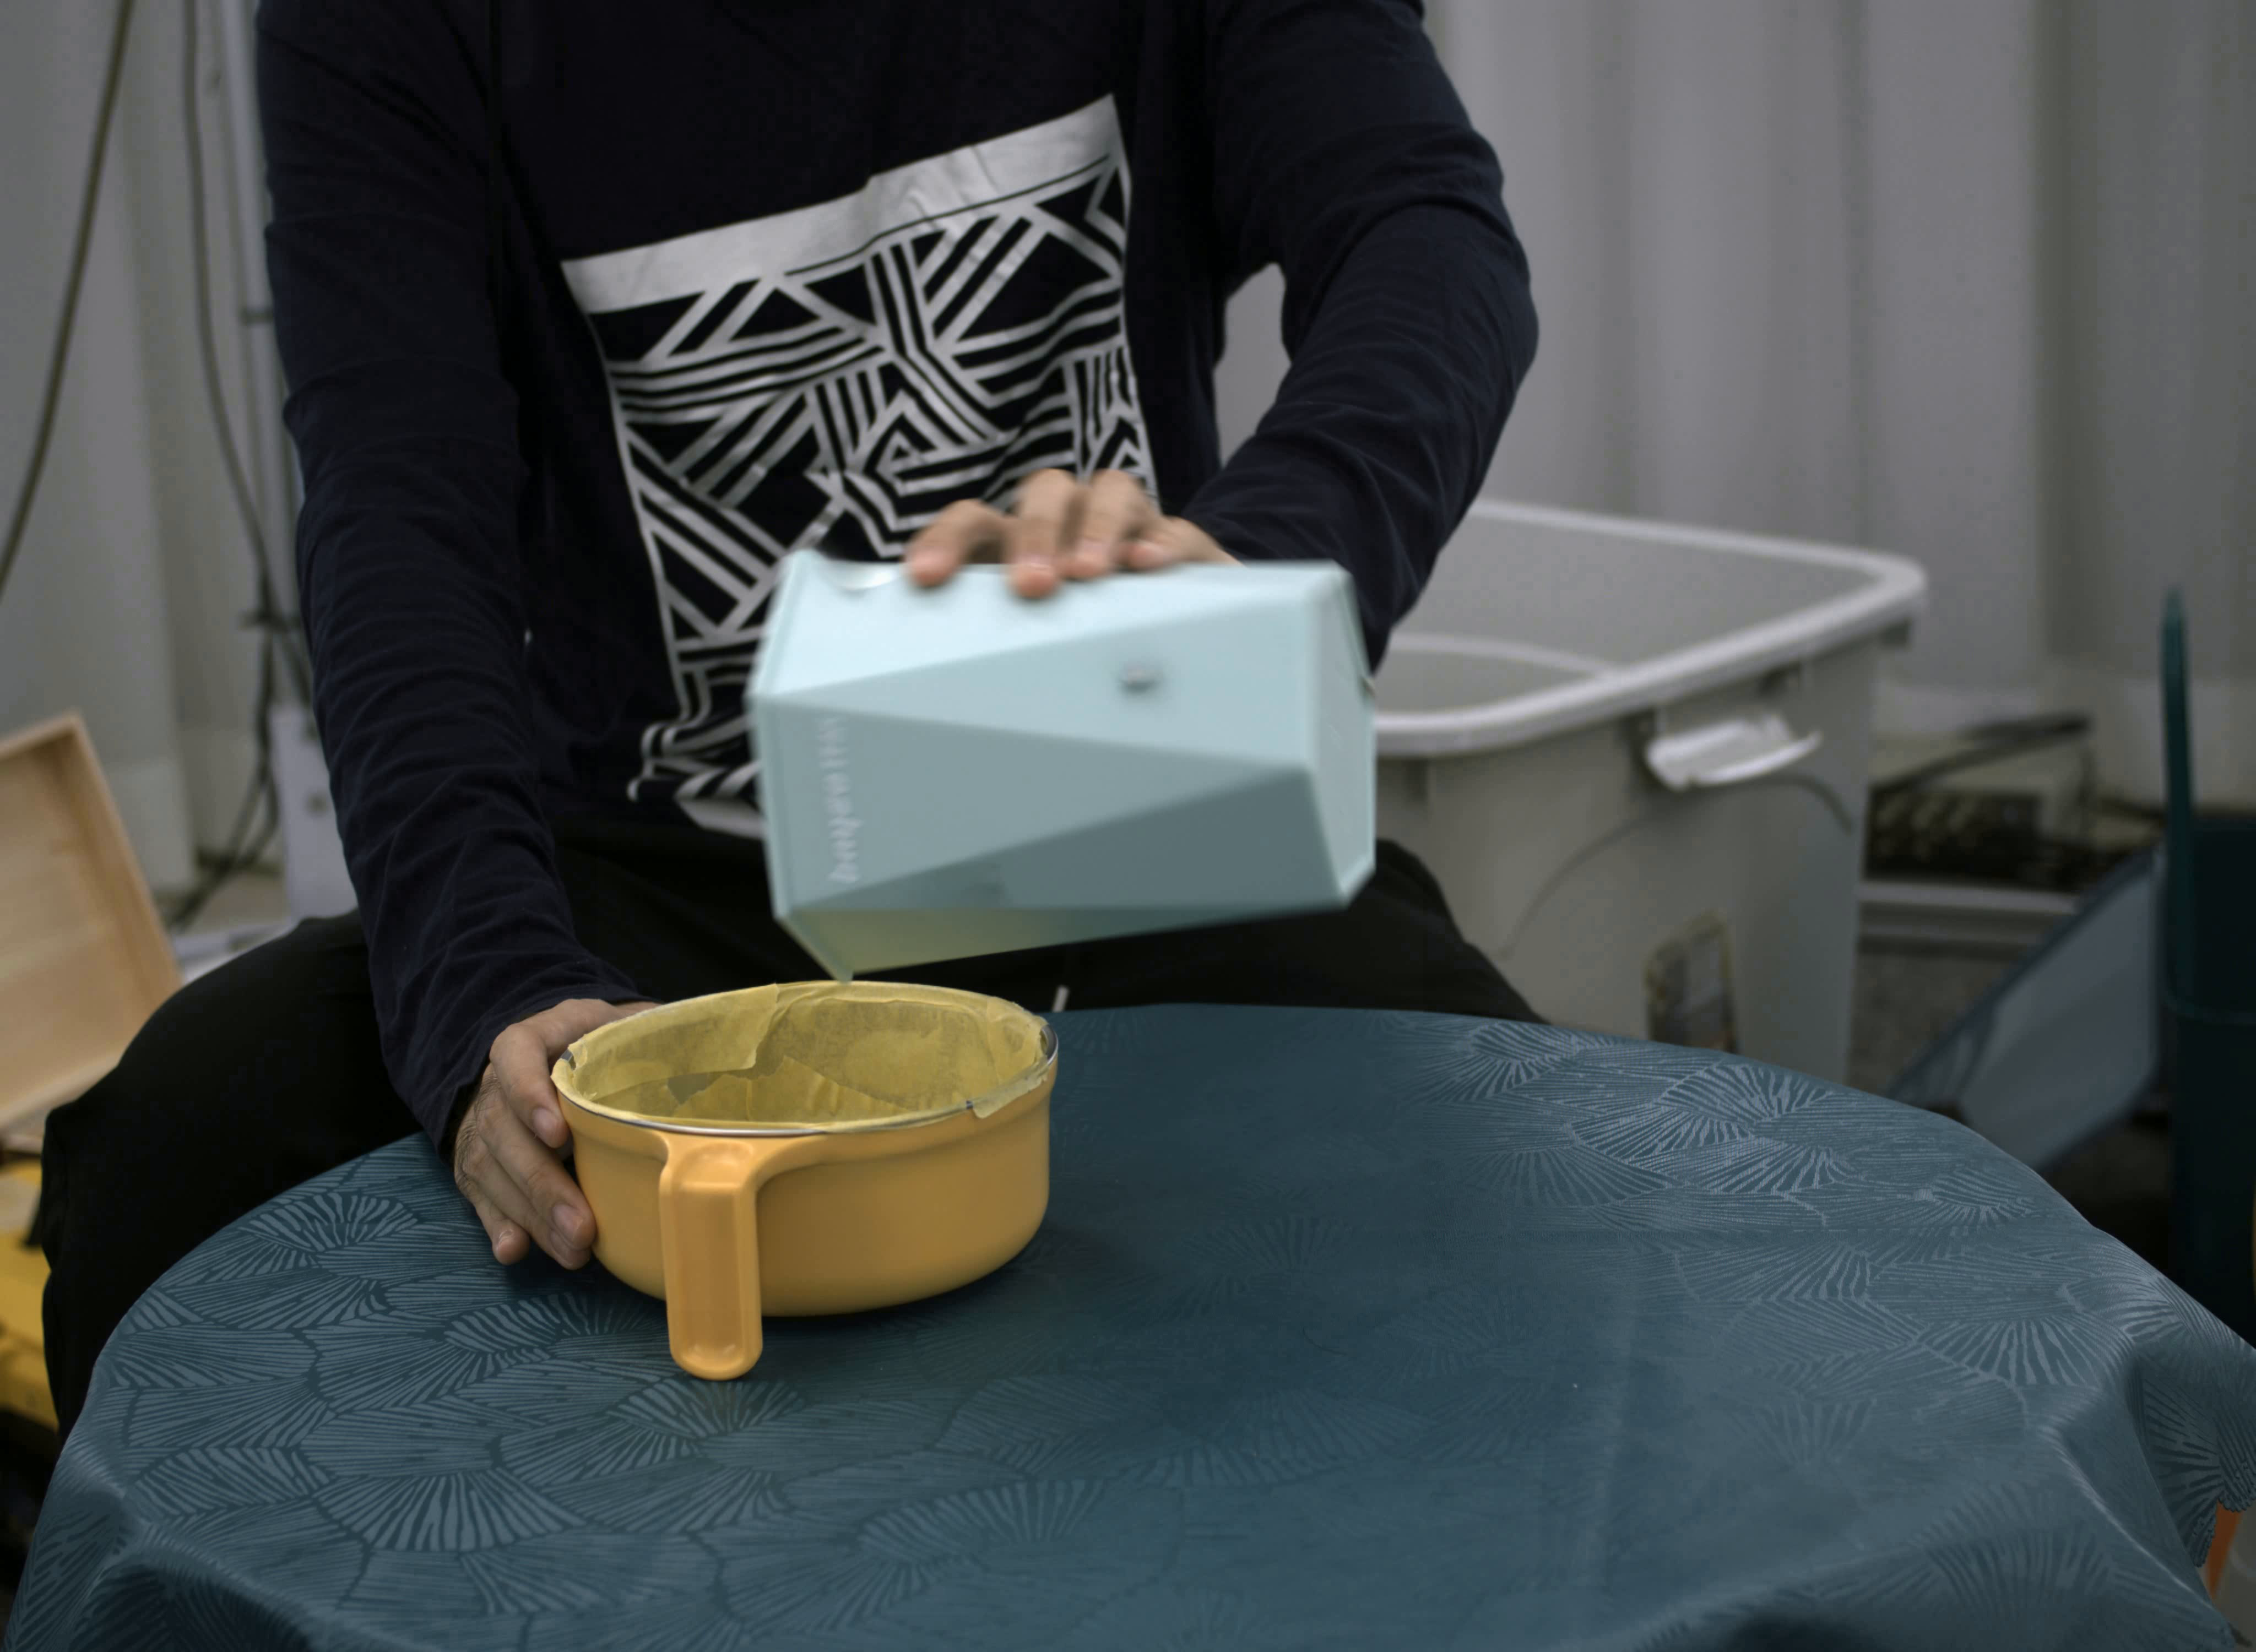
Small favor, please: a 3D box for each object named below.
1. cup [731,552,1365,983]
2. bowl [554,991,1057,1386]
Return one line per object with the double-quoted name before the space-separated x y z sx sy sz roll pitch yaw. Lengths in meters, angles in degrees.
"cup" -0.019 -0.024 1.604 0.162 0.131 0.115 -6 6 16
"bowl" -0.098 0.105 1.644 0.153 0.074 0.180 0 13 10
